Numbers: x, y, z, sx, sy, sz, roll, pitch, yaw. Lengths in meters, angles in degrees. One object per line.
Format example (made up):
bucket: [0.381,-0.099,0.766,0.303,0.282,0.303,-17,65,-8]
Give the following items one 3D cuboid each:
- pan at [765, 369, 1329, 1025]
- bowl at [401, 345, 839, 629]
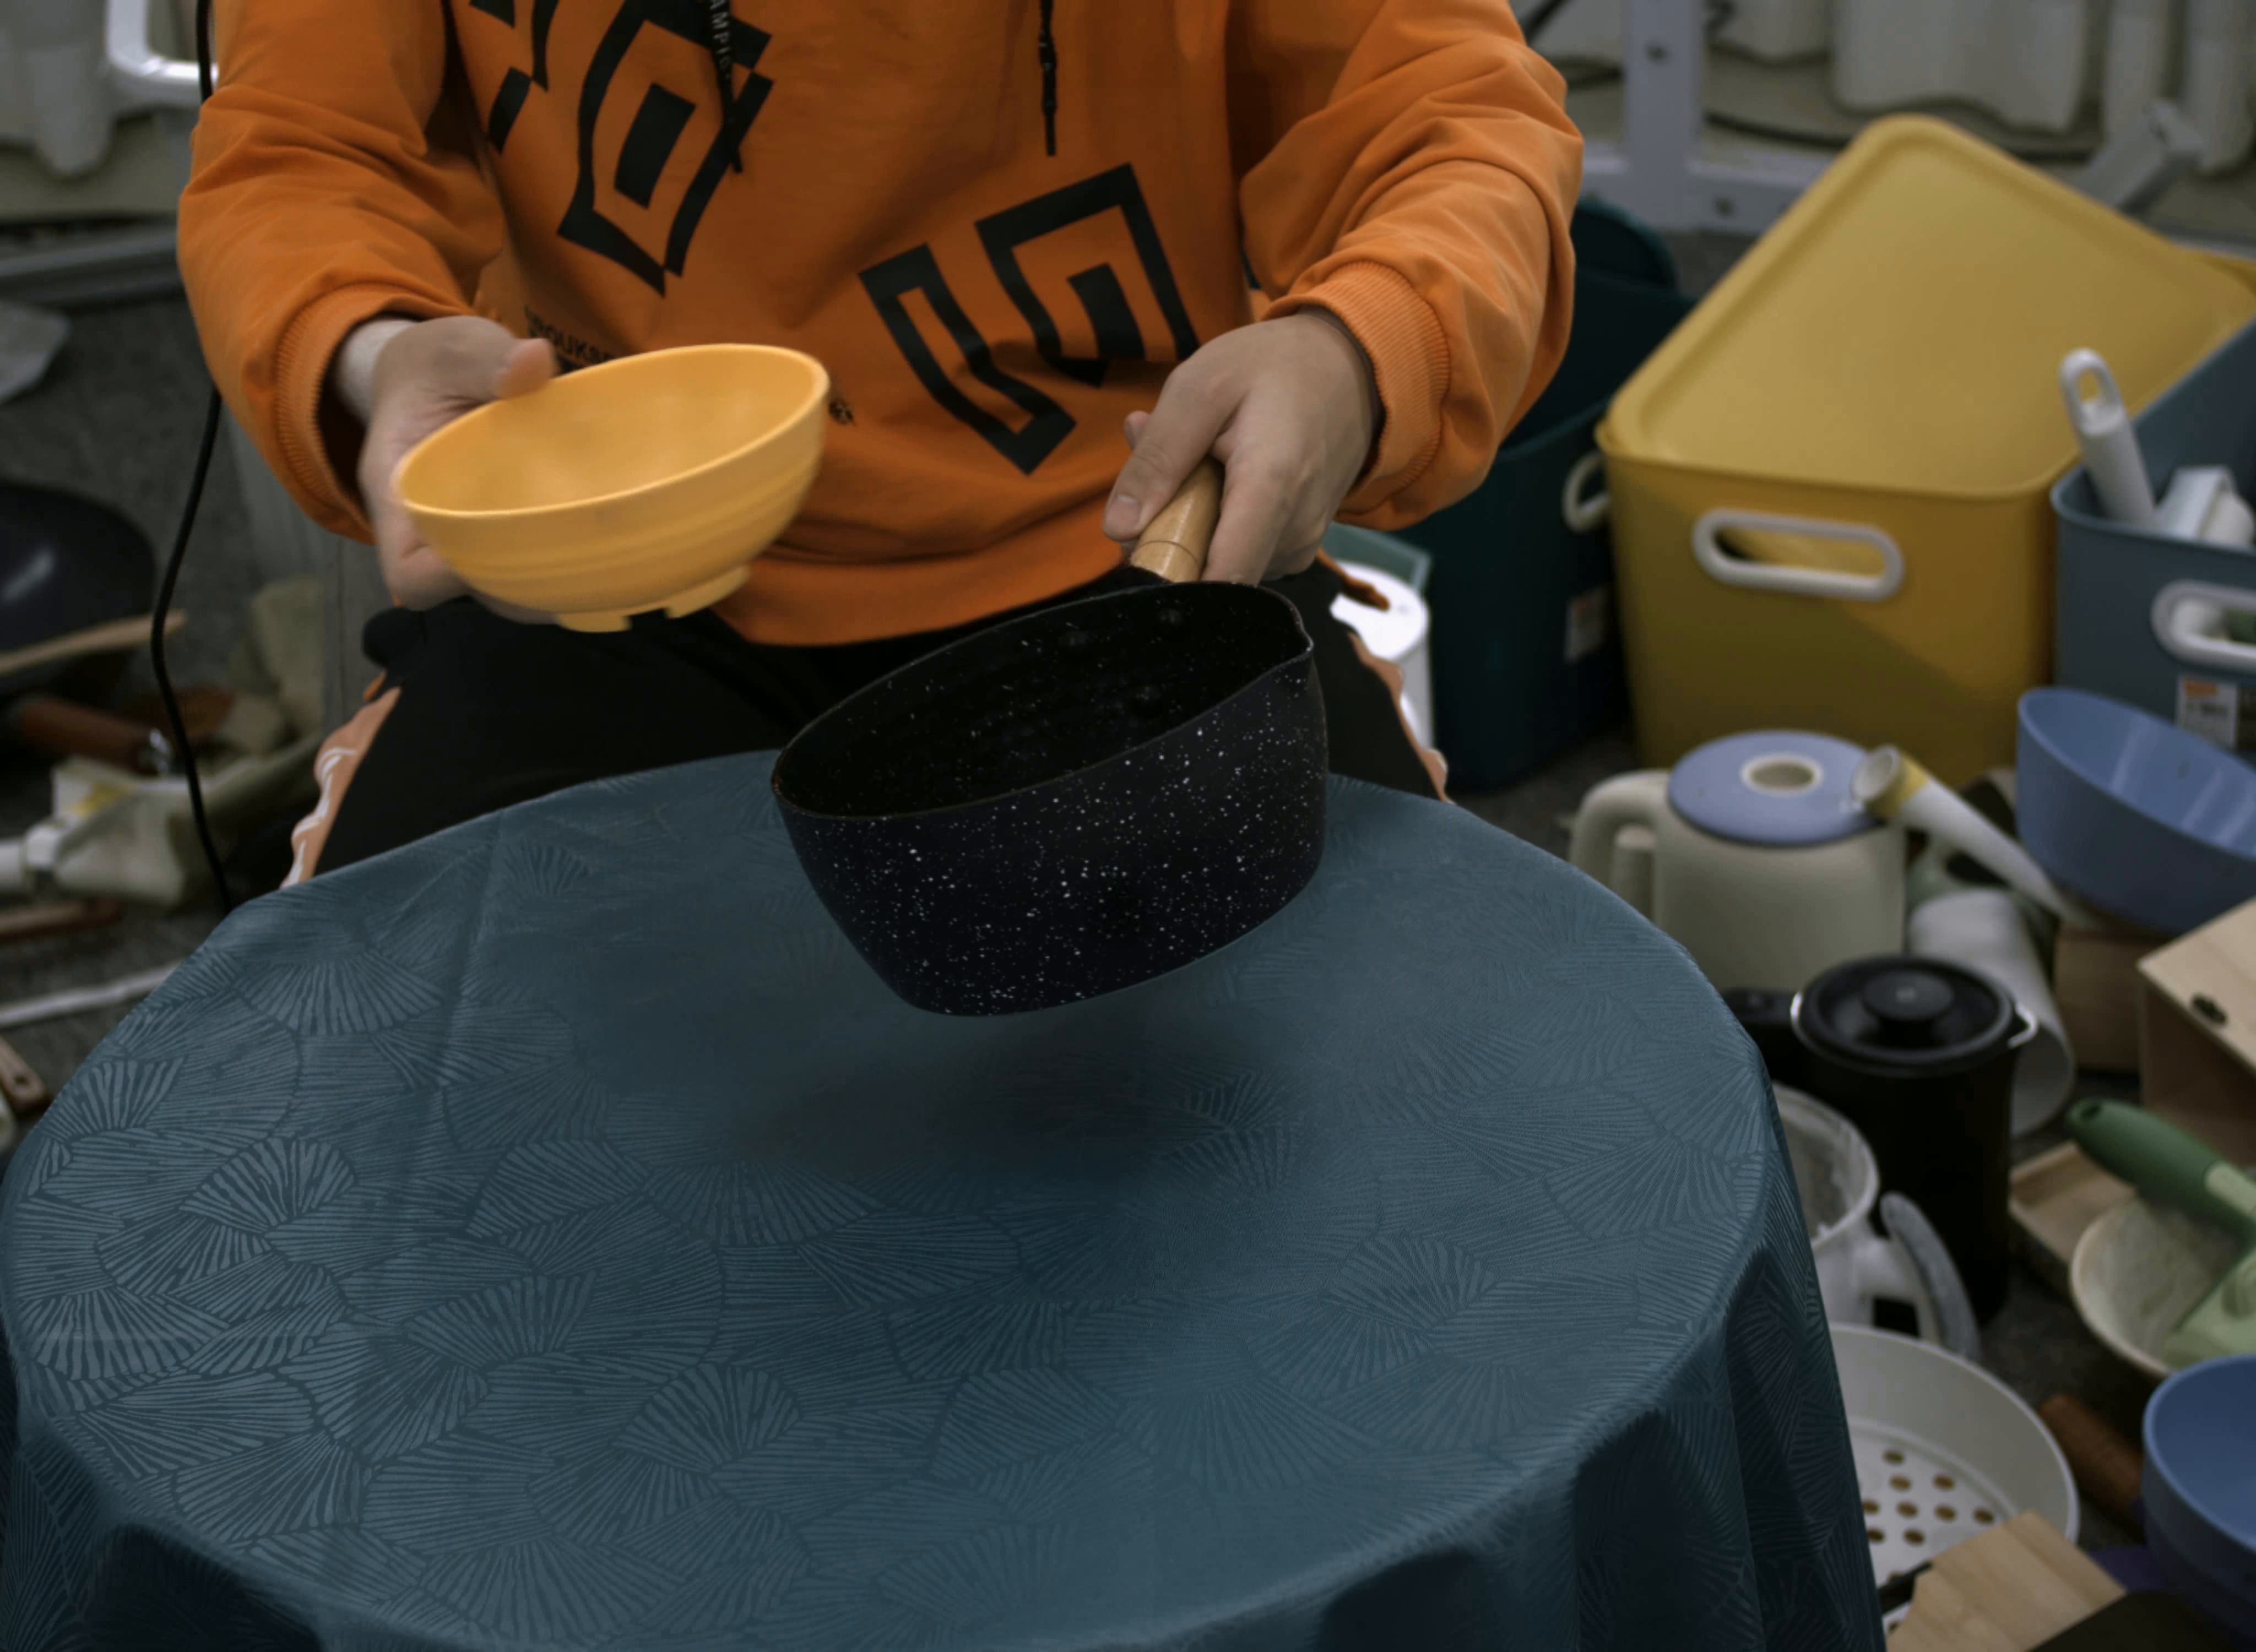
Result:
pan: [-0.001,-0.049,1.943,0.205,0.107,0.348,-12,21,22]
bowl: [-0.158,-0.104,1.826,0.144,0.059,0.147,-11,21,5]
